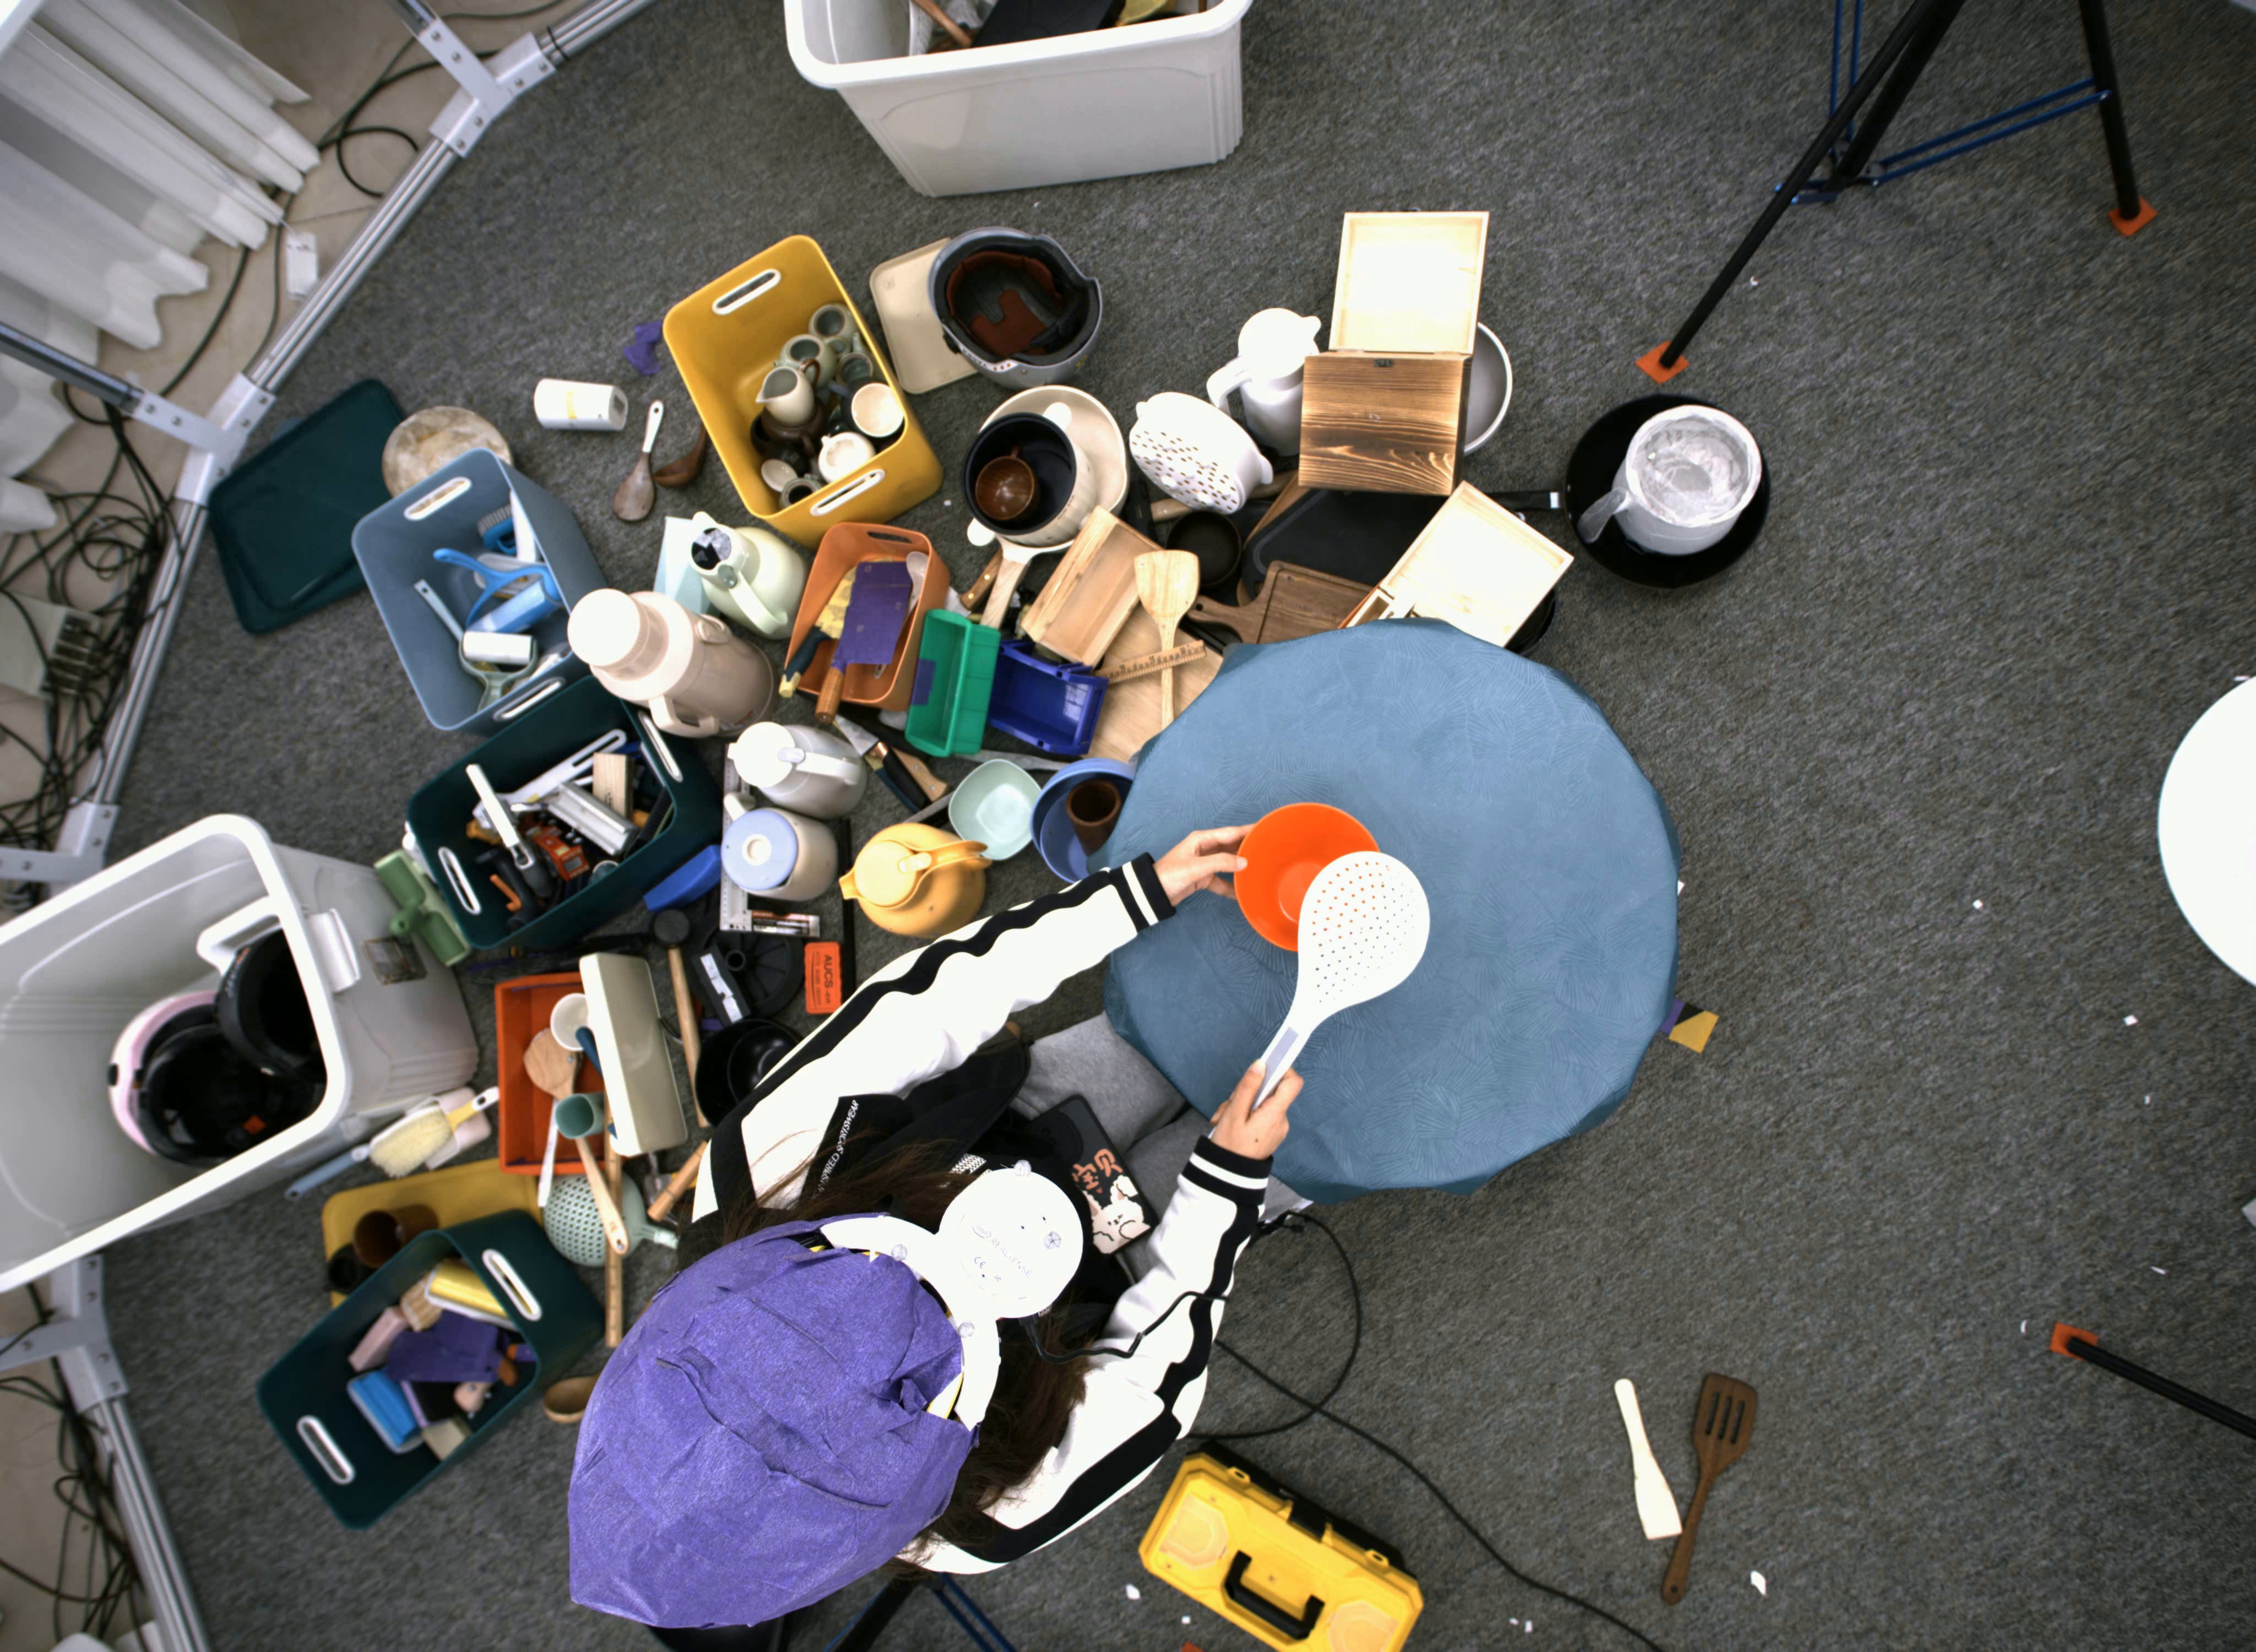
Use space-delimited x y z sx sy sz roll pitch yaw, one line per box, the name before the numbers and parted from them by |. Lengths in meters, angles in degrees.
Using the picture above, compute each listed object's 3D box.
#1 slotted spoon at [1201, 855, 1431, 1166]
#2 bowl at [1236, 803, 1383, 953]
slotted spoon | 0.172 0.185 1.336 0.134 0.046 0.353 41 104 34
bowl | 0.184 0.055 1.406 0.148 0.105 0.147 -1 86 6
